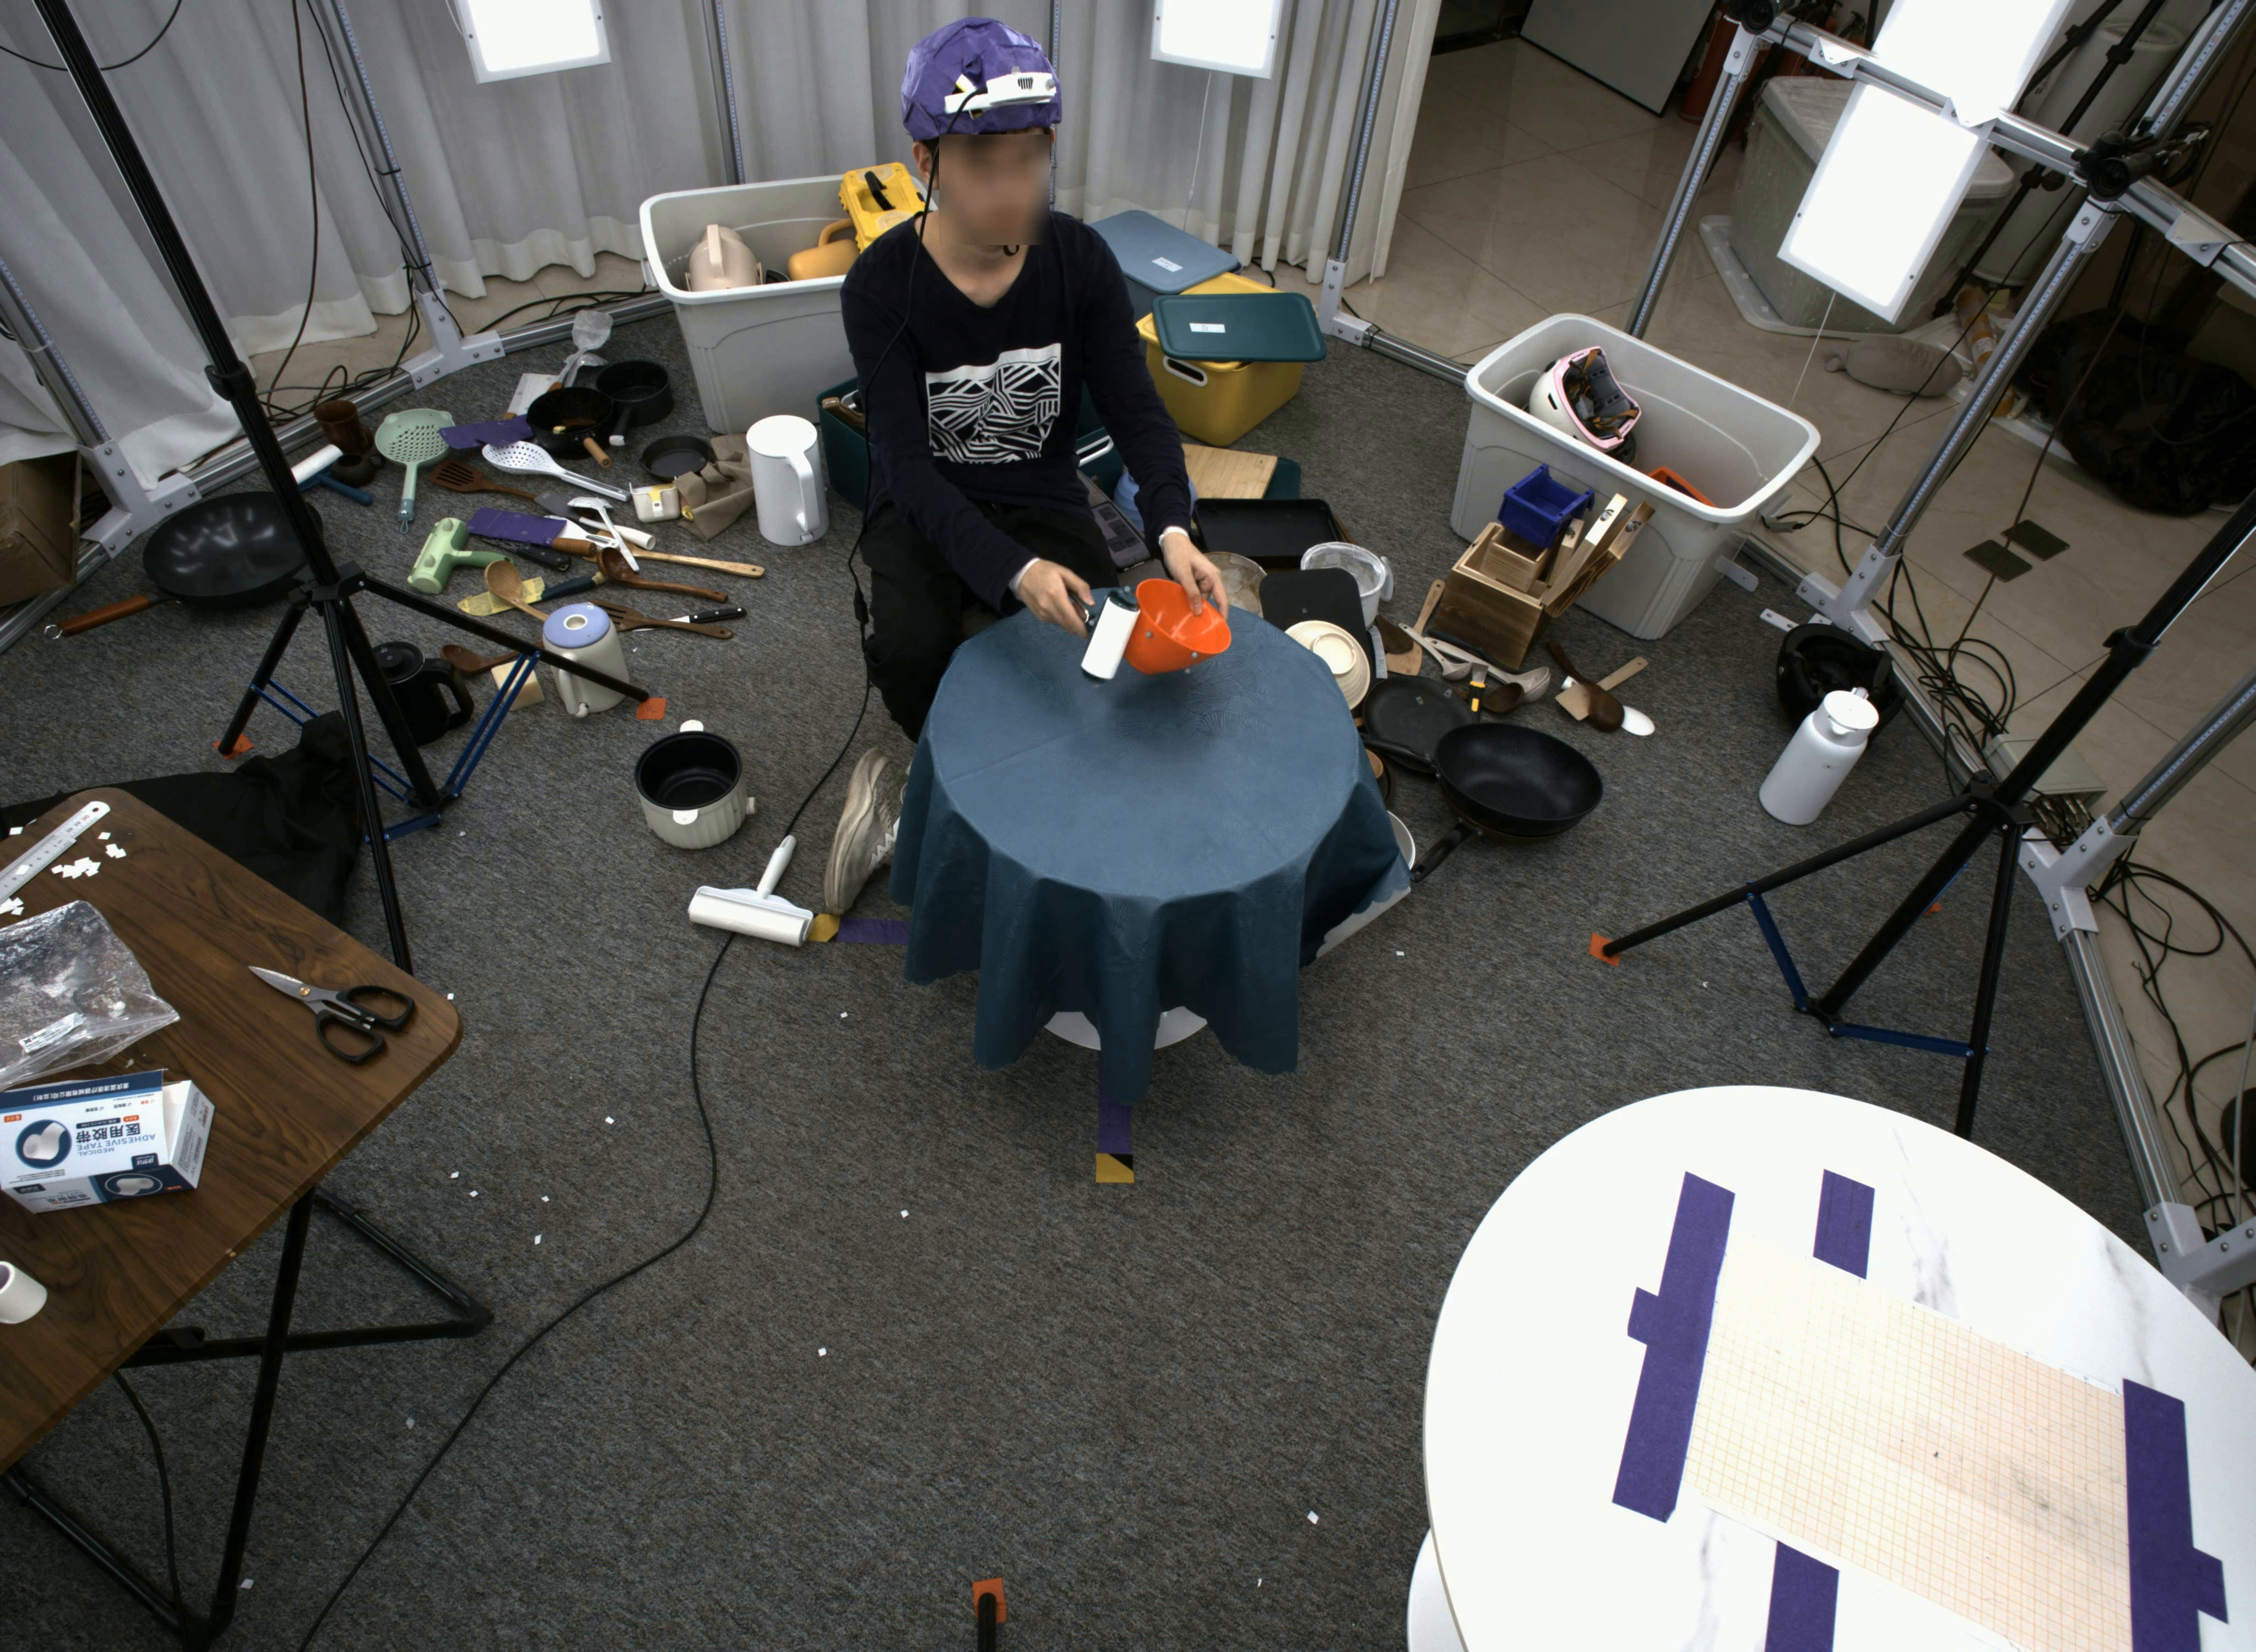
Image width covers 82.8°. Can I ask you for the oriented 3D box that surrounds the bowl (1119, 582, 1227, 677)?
[{"bbox_3d":[0.048,-0.260,1.777,0.146,0.103,0.151,30,32,-21],"label":"bowl"}]

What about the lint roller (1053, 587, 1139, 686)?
[{"bbox_3d":[-0.065,-0.286,1.764,0.048,0.132,0.183,3,30,-45],"label":"lint roller"}]
